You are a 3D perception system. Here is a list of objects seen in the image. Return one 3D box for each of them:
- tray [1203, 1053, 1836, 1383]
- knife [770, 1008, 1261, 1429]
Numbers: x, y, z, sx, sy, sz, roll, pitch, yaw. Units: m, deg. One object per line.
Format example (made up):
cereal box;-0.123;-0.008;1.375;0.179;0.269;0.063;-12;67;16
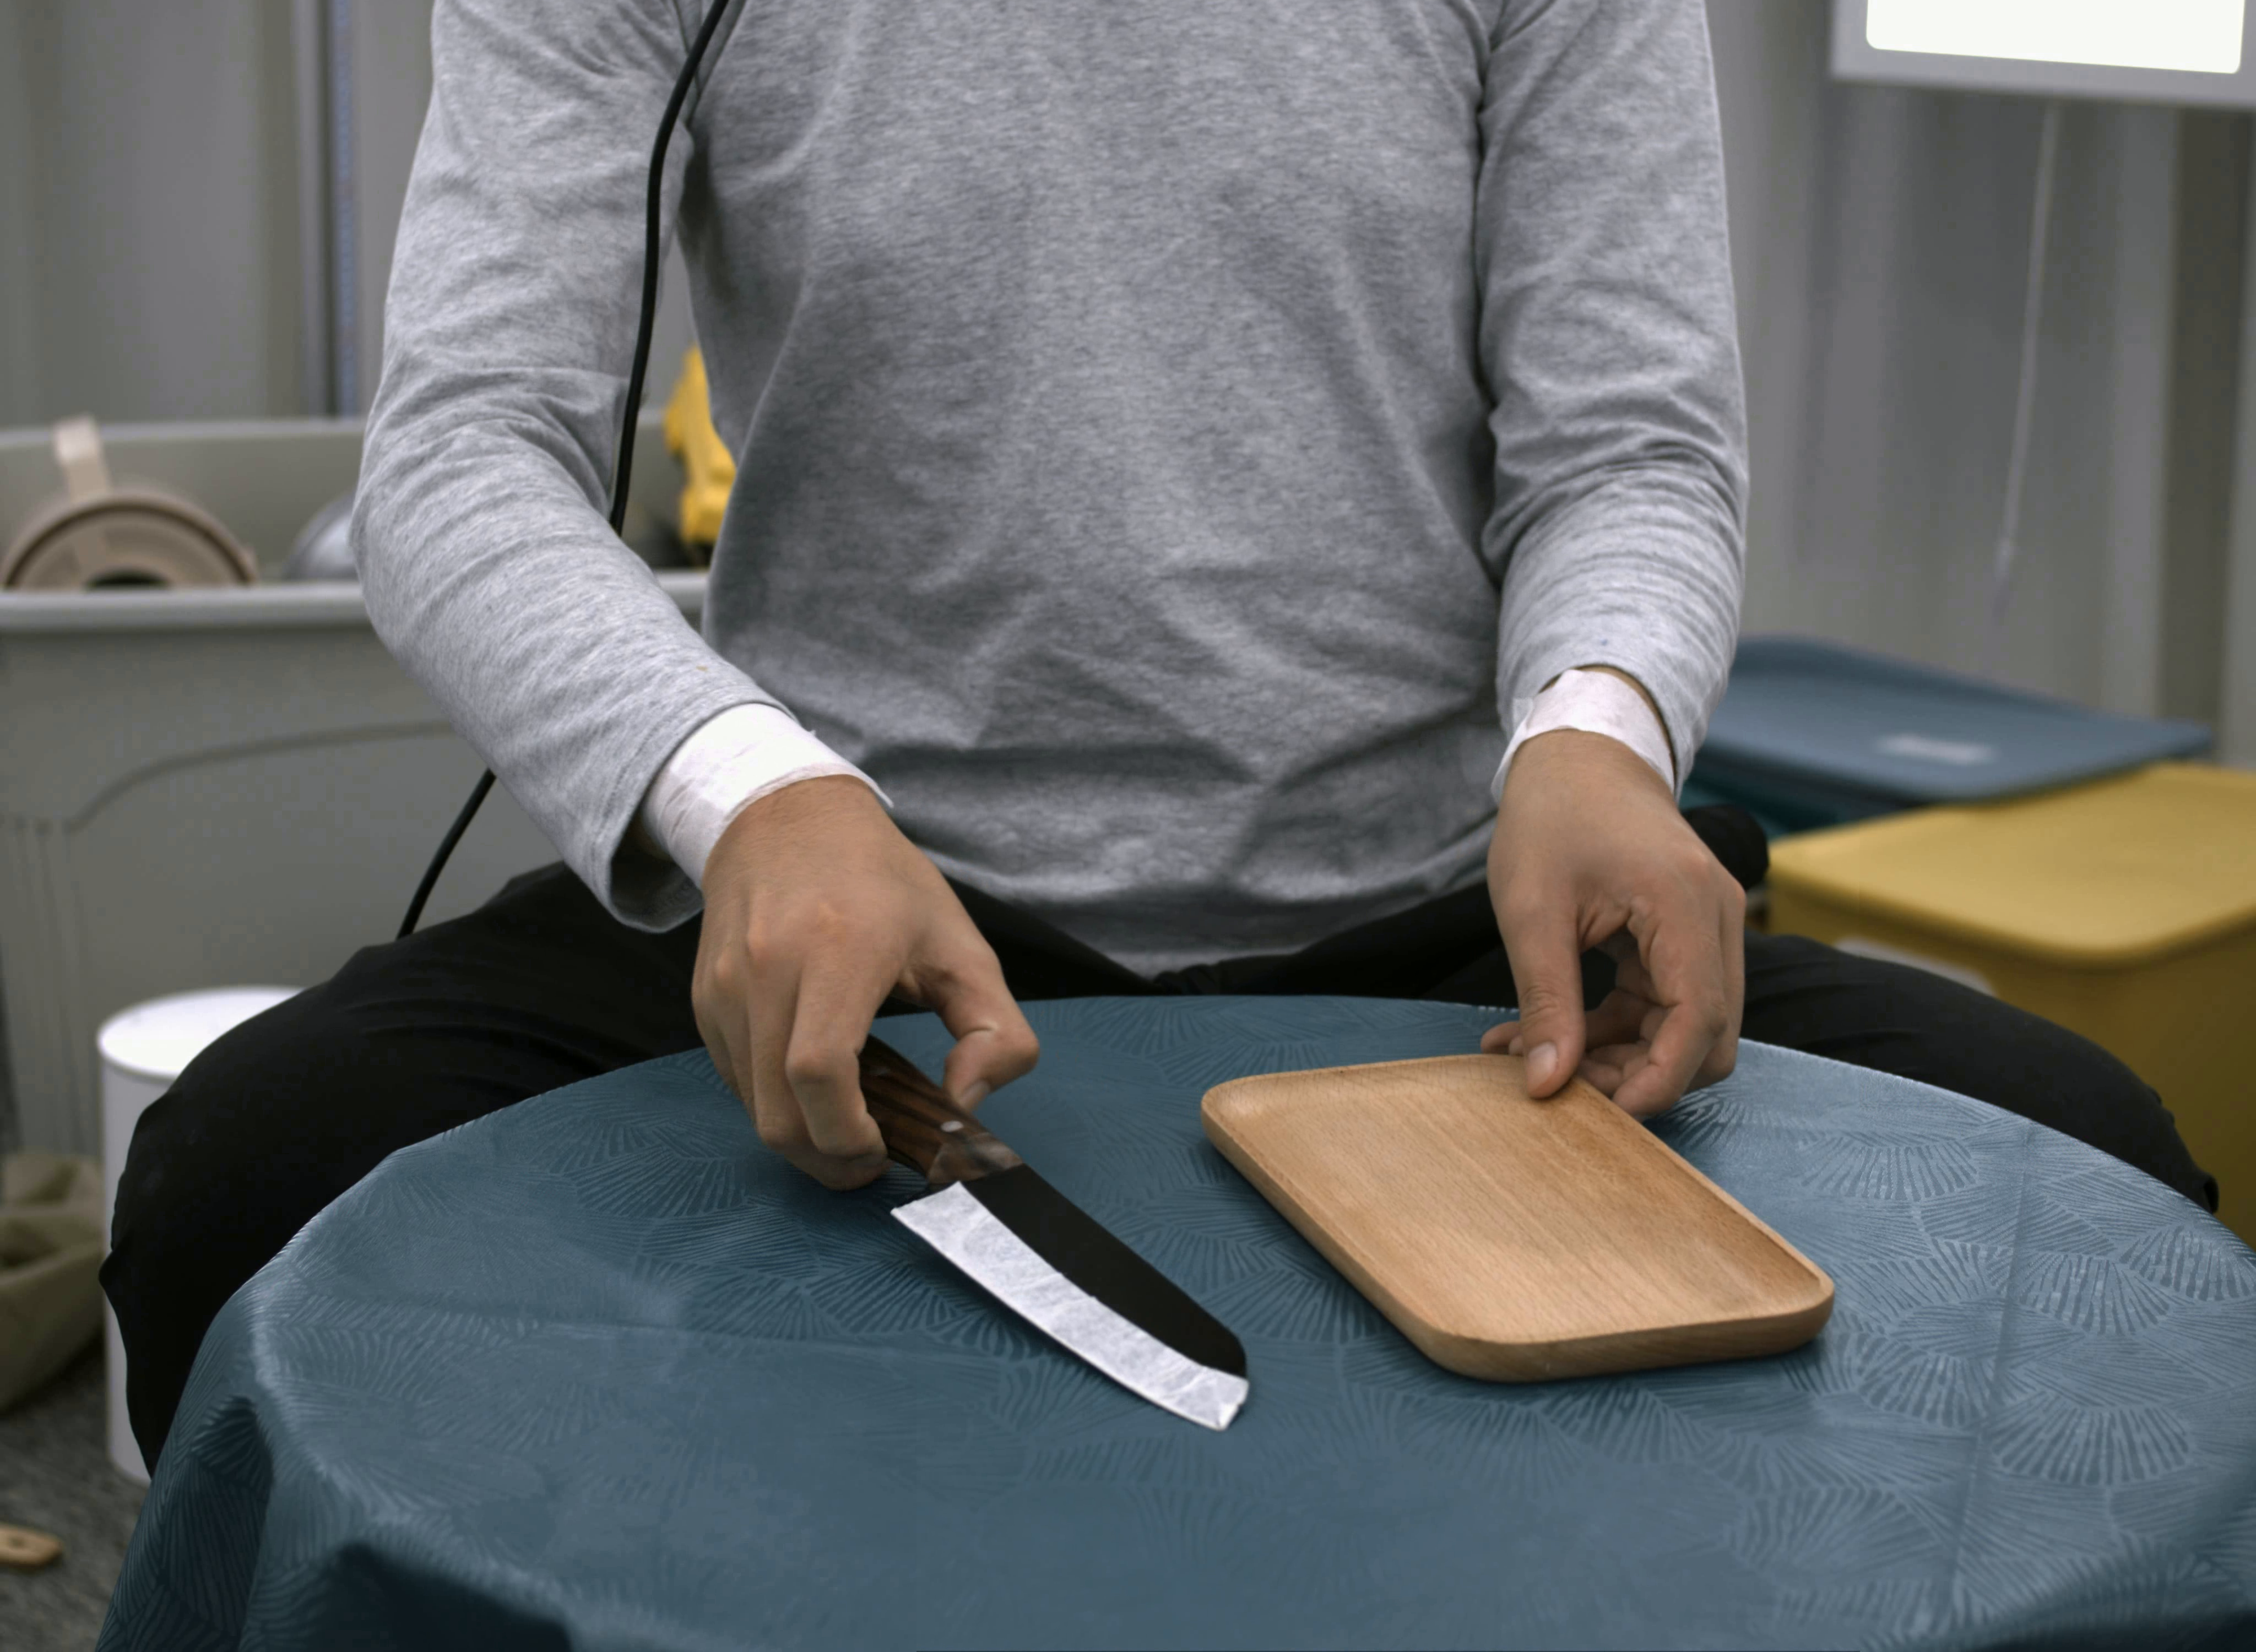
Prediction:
tray;0.113;0.115;1.590;0.131;0.023;0.248;-2;15;-16
knife;-0.037;0.114;1.552;0.050;0.020;0.285;-19;29;-23
